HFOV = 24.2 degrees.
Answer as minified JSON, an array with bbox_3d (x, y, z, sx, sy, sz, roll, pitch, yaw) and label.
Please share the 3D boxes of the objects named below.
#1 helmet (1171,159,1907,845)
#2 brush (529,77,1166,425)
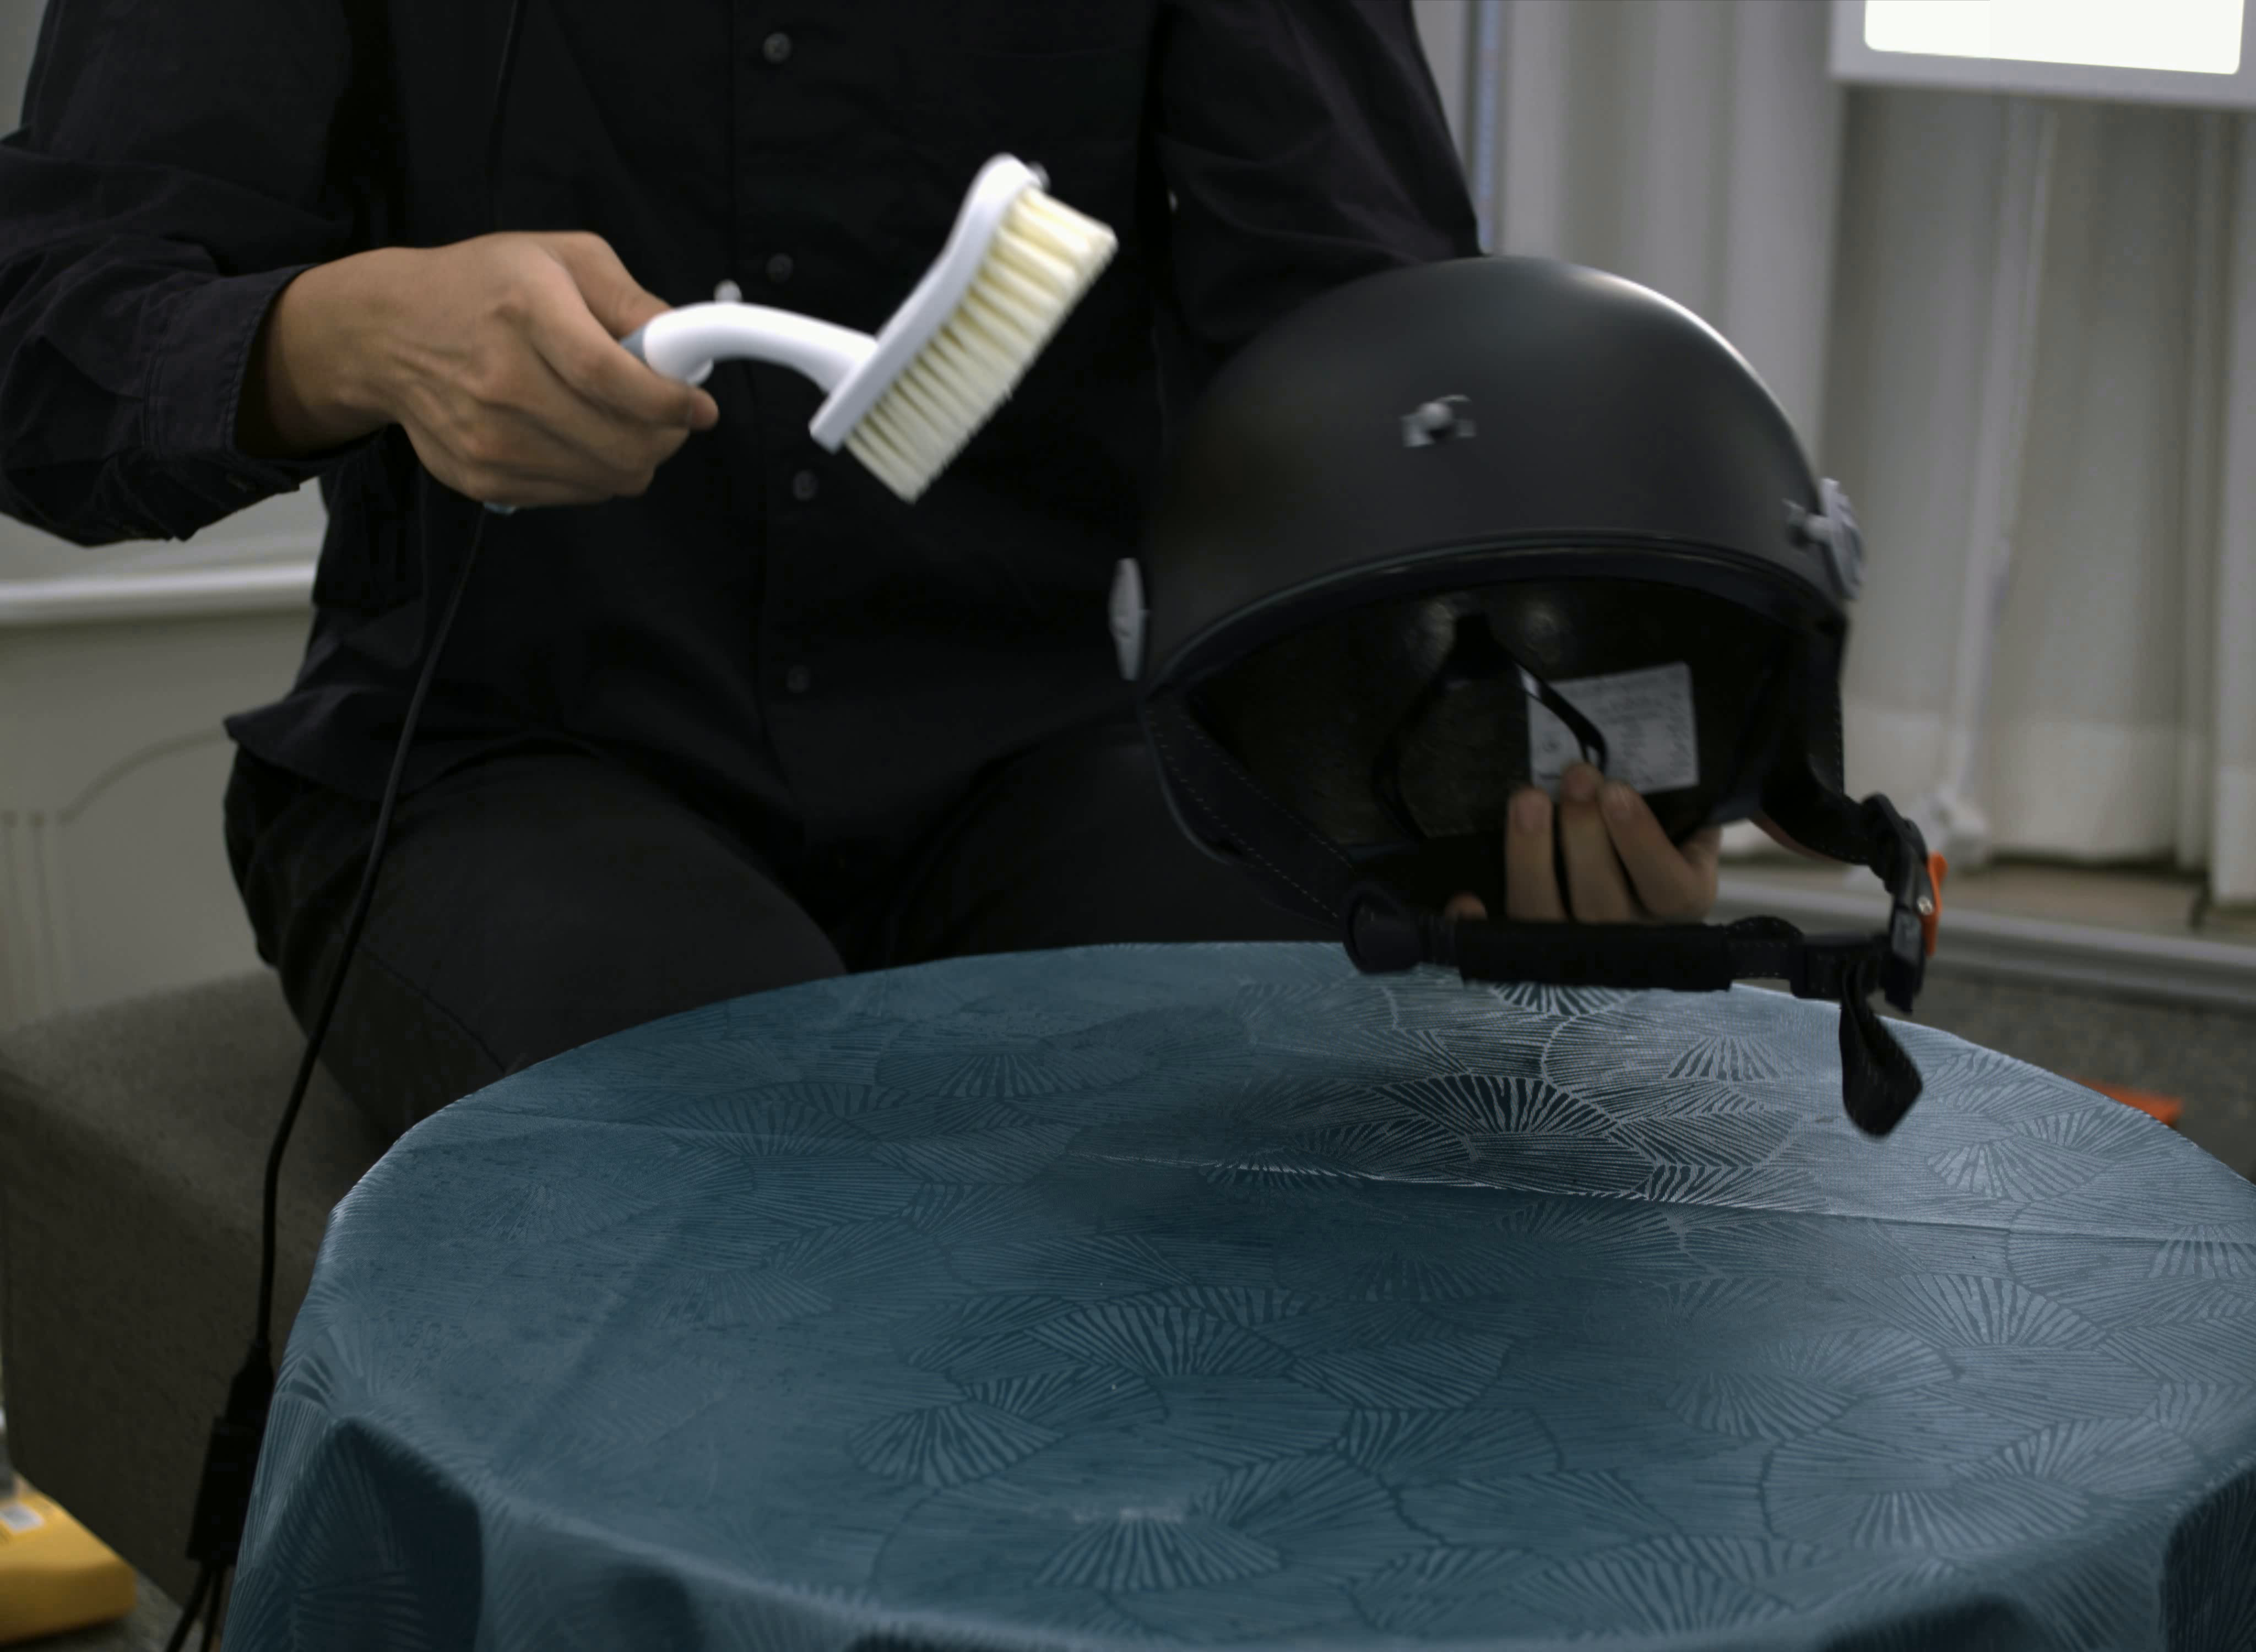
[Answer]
[{"bbox_3d":[0.128,-0.121,1.677,0.229,0.165,0.276,-8,-26,4],"label":"helmet"},{"bbox_3d":[-0.082,-0.162,1.686,0.083,0.085,0.323,-16,-2,-37],"label":"brush"}]
